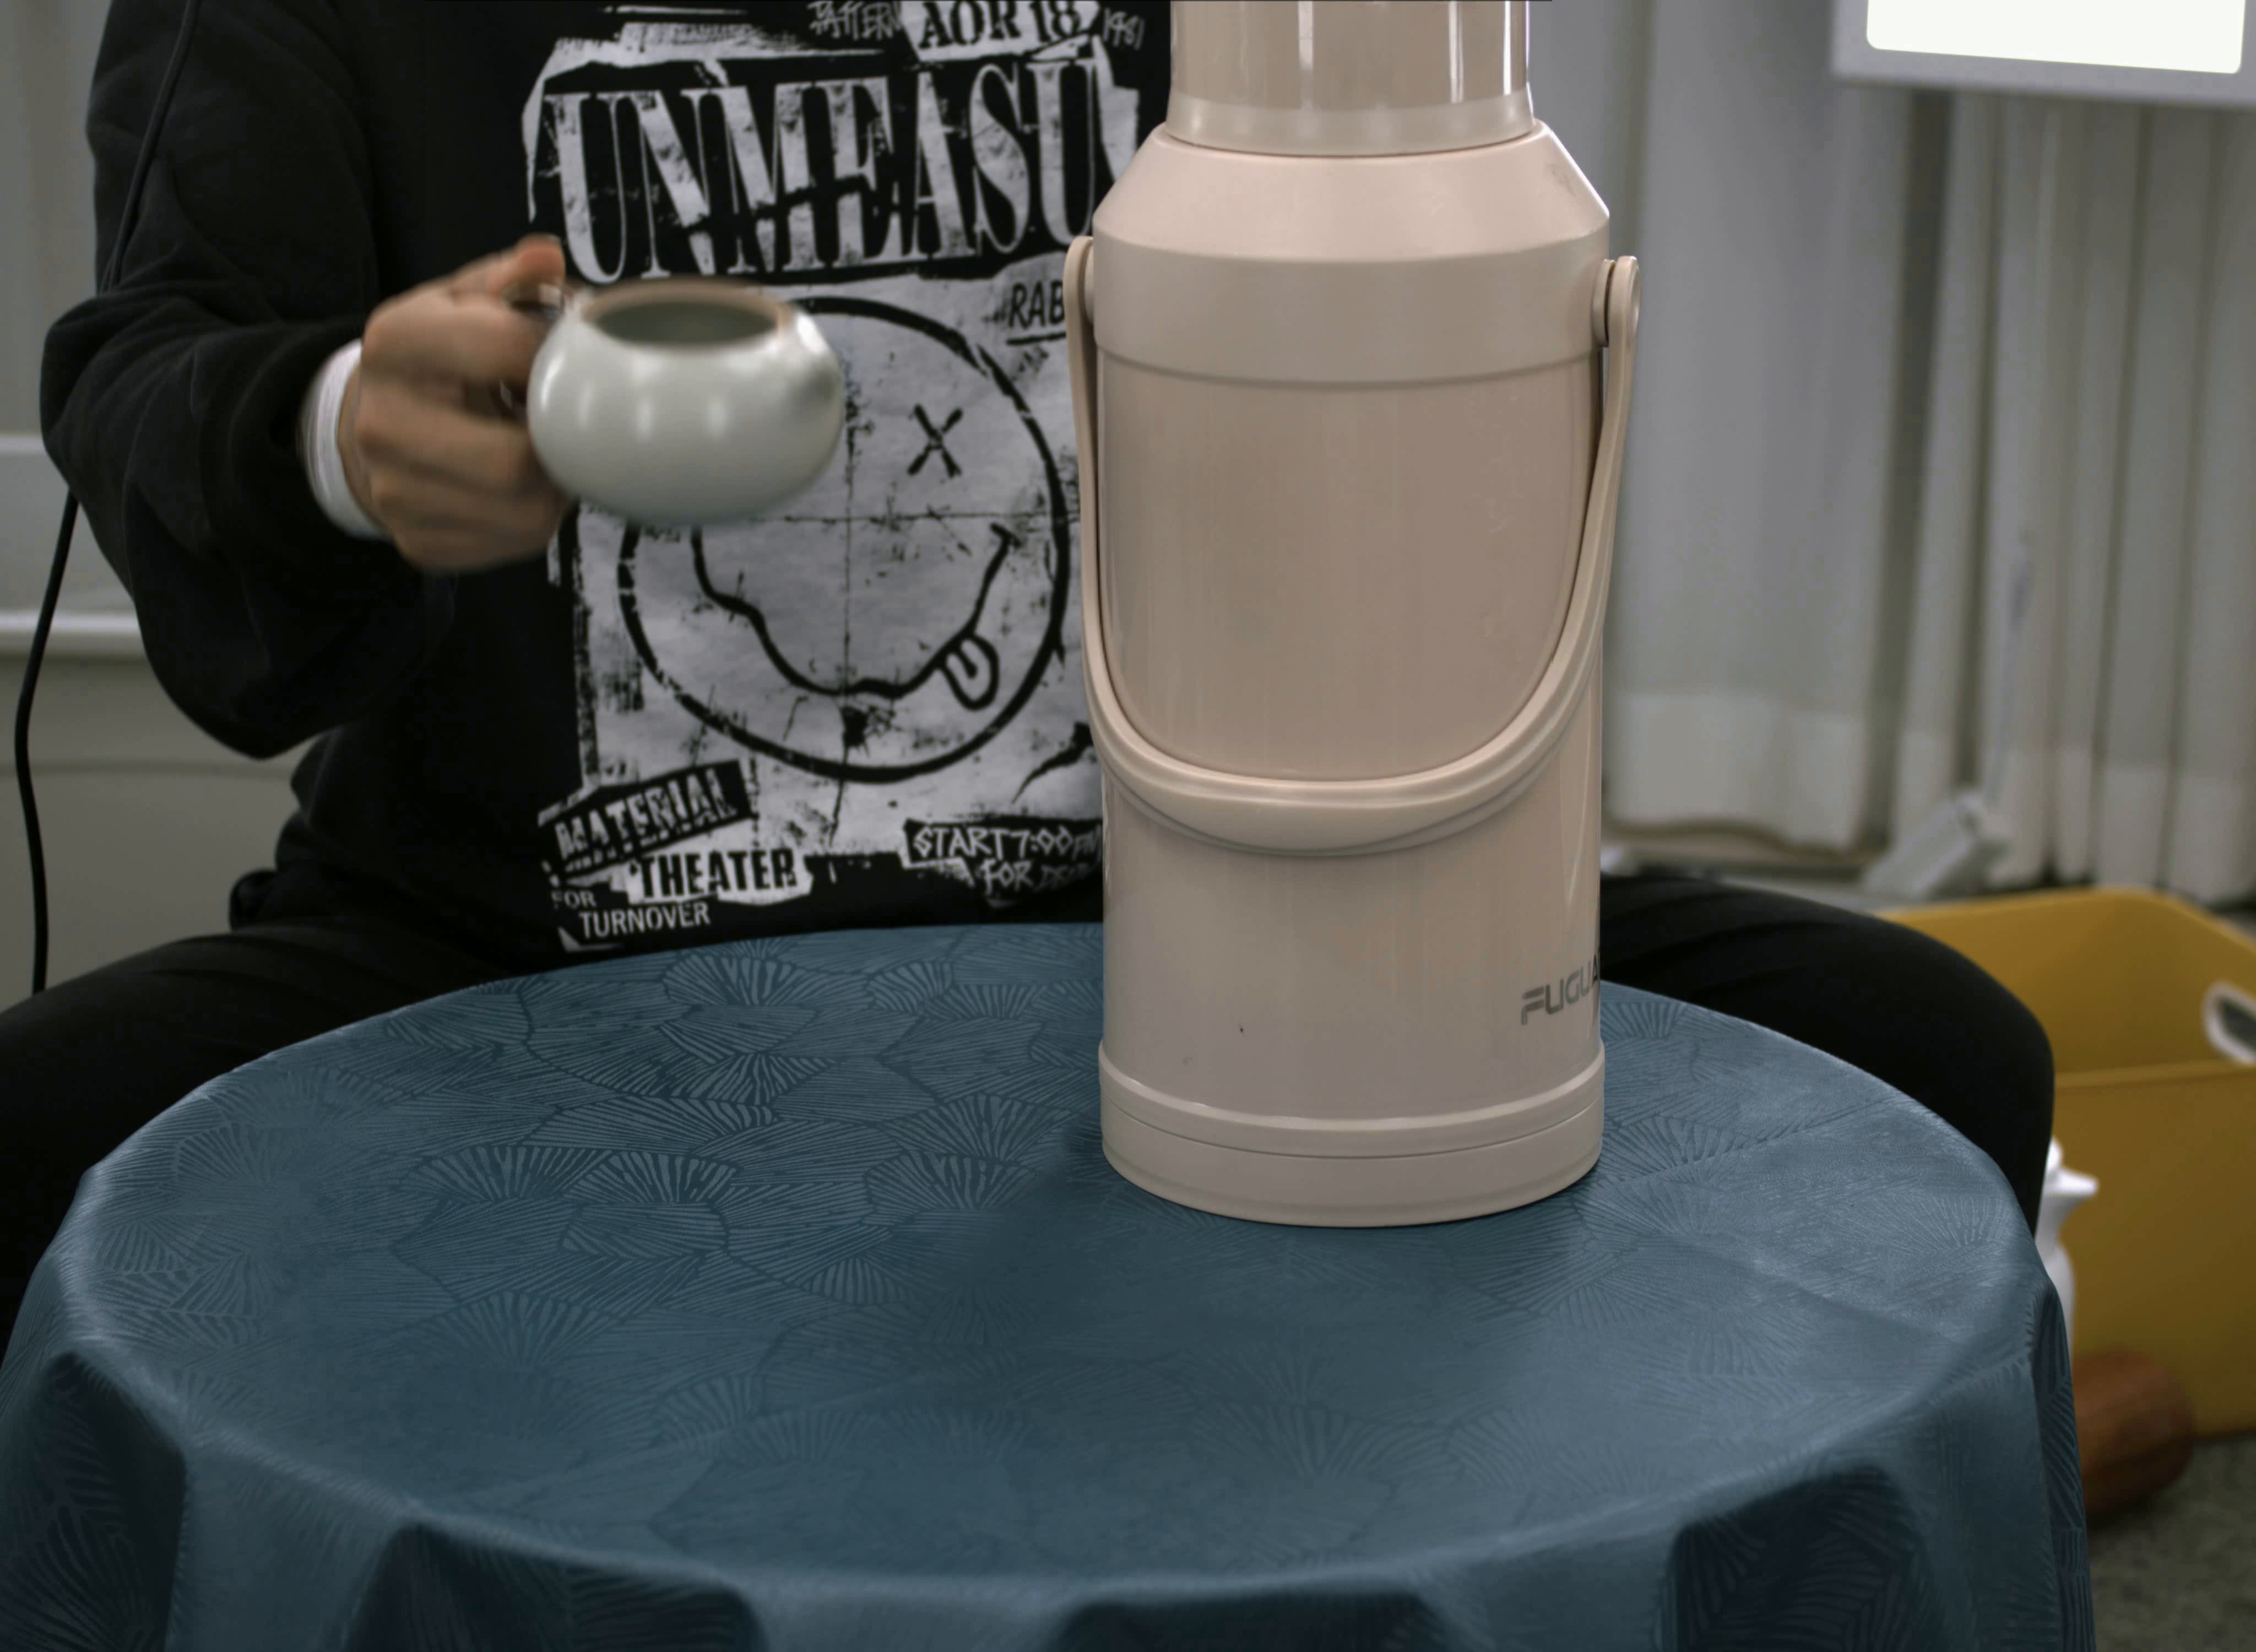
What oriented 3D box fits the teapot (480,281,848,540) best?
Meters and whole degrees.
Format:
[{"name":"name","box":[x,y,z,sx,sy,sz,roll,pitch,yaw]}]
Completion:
[{"name":"teapot","box":[-0.135,-0.121,1.514,0.126,0.060,0.092,17,30,26]}]

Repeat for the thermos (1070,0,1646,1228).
[{"name":"thermos","box":[0.075,-0.094,1.622,0.174,0.410,0.207,2,17,15]}]
